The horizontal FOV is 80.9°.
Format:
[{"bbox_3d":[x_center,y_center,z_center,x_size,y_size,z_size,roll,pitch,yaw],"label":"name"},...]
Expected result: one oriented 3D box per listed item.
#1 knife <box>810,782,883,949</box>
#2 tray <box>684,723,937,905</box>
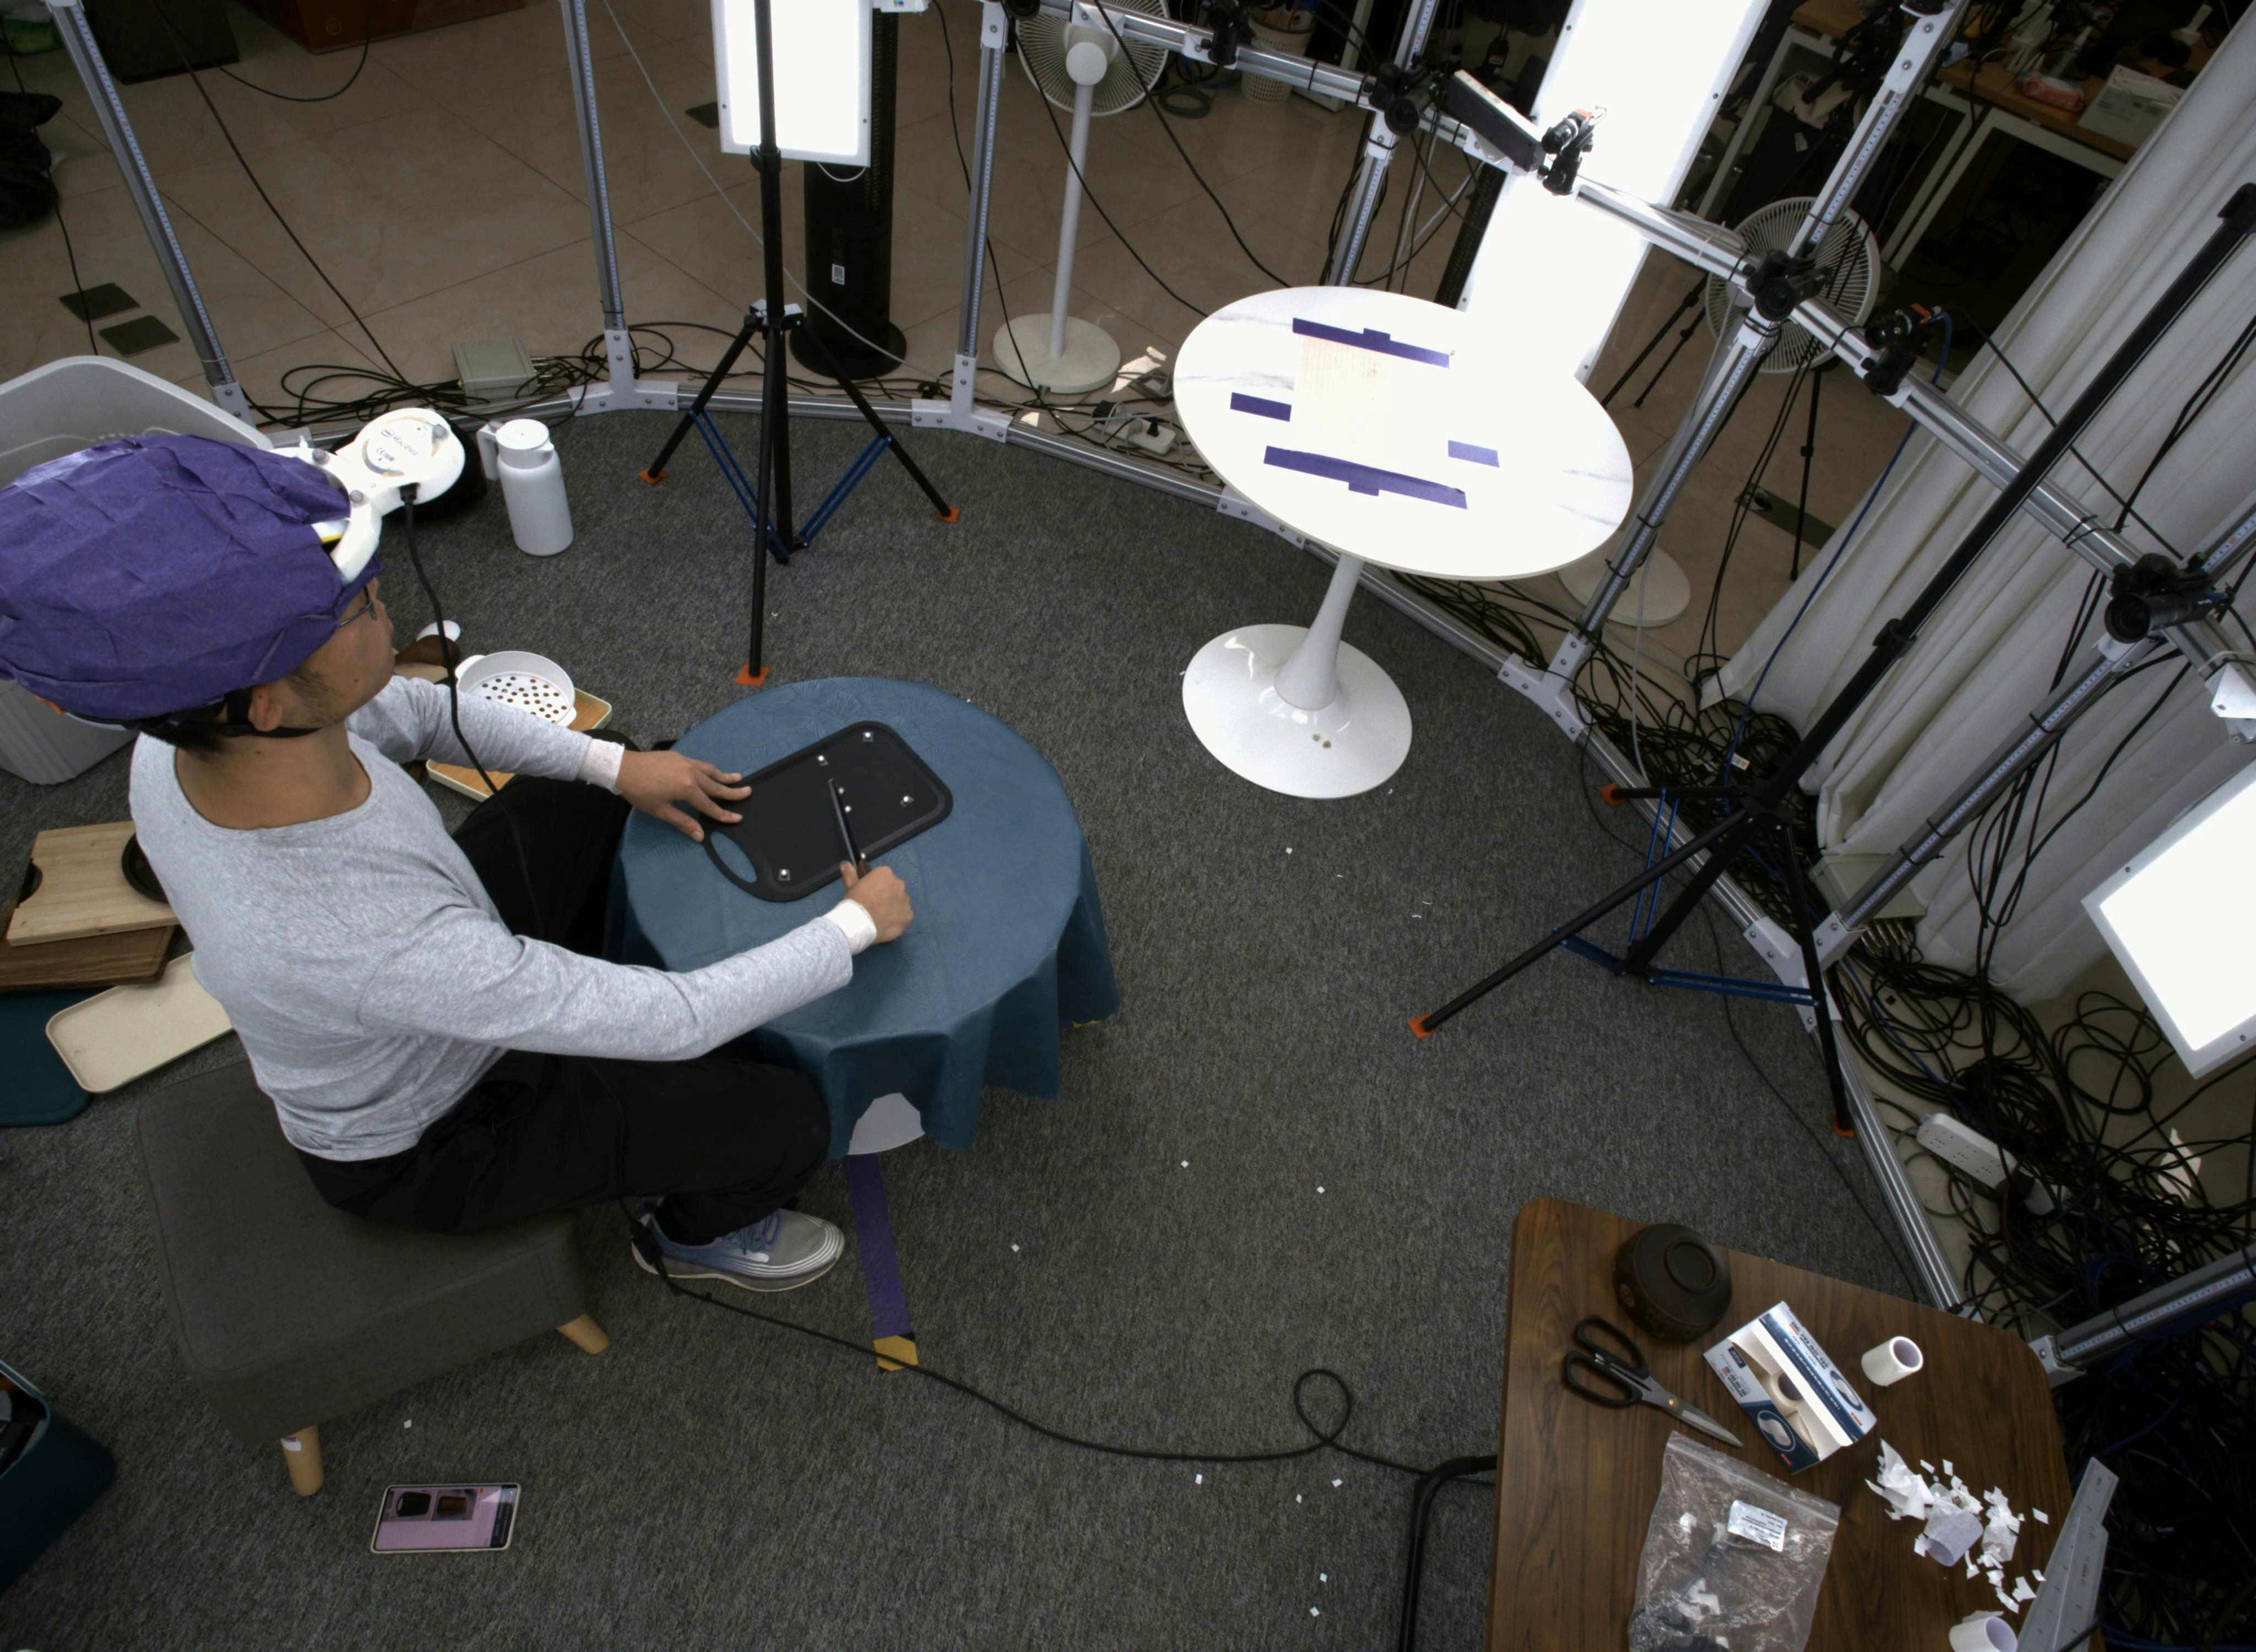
[{"bbox_3d":[-0.369,0.045,1.673,0.020,0.051,0.281,-7,52,-32],"label":"knife"},{"bbox_3d":[-0.430,-0.021,1.745,0.326,0.010,0.206,-32,67,-31],"label":"tray"}]
